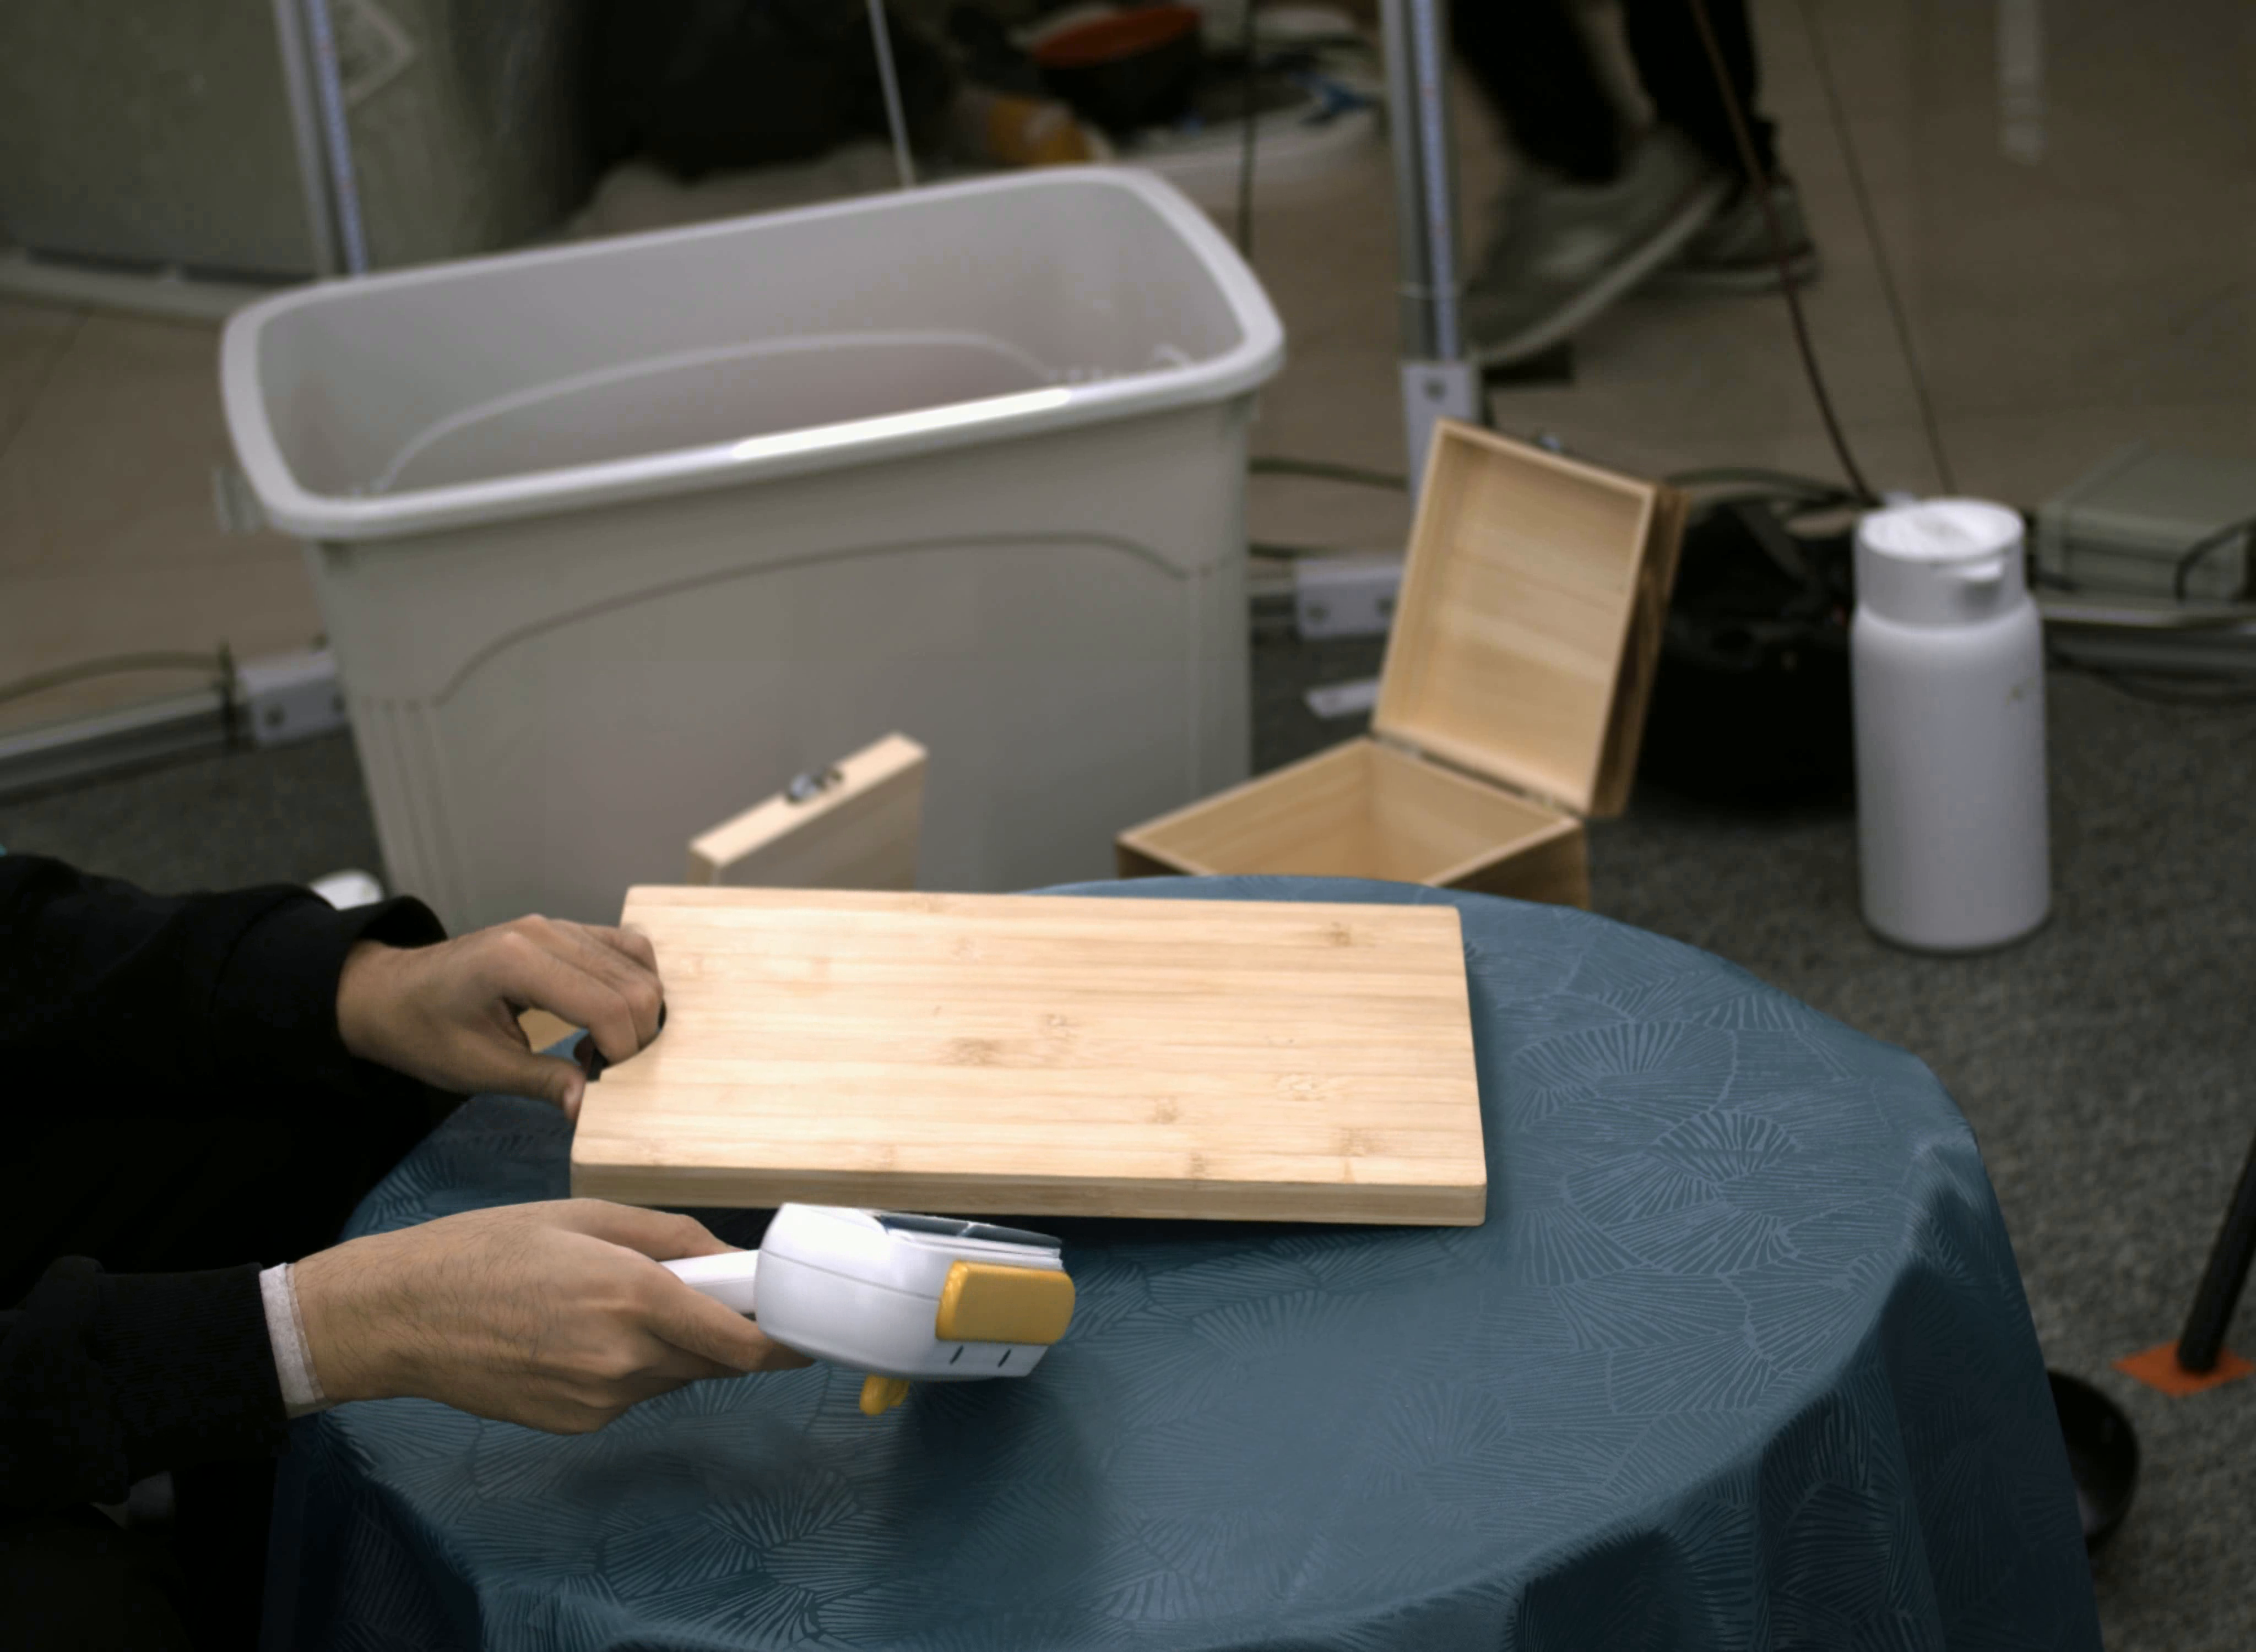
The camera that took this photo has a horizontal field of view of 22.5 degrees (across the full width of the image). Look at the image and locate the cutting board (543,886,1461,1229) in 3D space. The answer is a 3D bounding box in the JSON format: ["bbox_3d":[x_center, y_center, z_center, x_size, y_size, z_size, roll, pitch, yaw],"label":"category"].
[{"bbox_3d":[-0.042,0.087,2.197,0.348,0.024,0.247,1,25,0],"label":"cutting board"}]

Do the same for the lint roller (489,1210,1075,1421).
[{"bbox_3d":[-0.131,0.163,1.968,0.192,0.074,0.193,5,1,19],"label":"lint roller"}]
